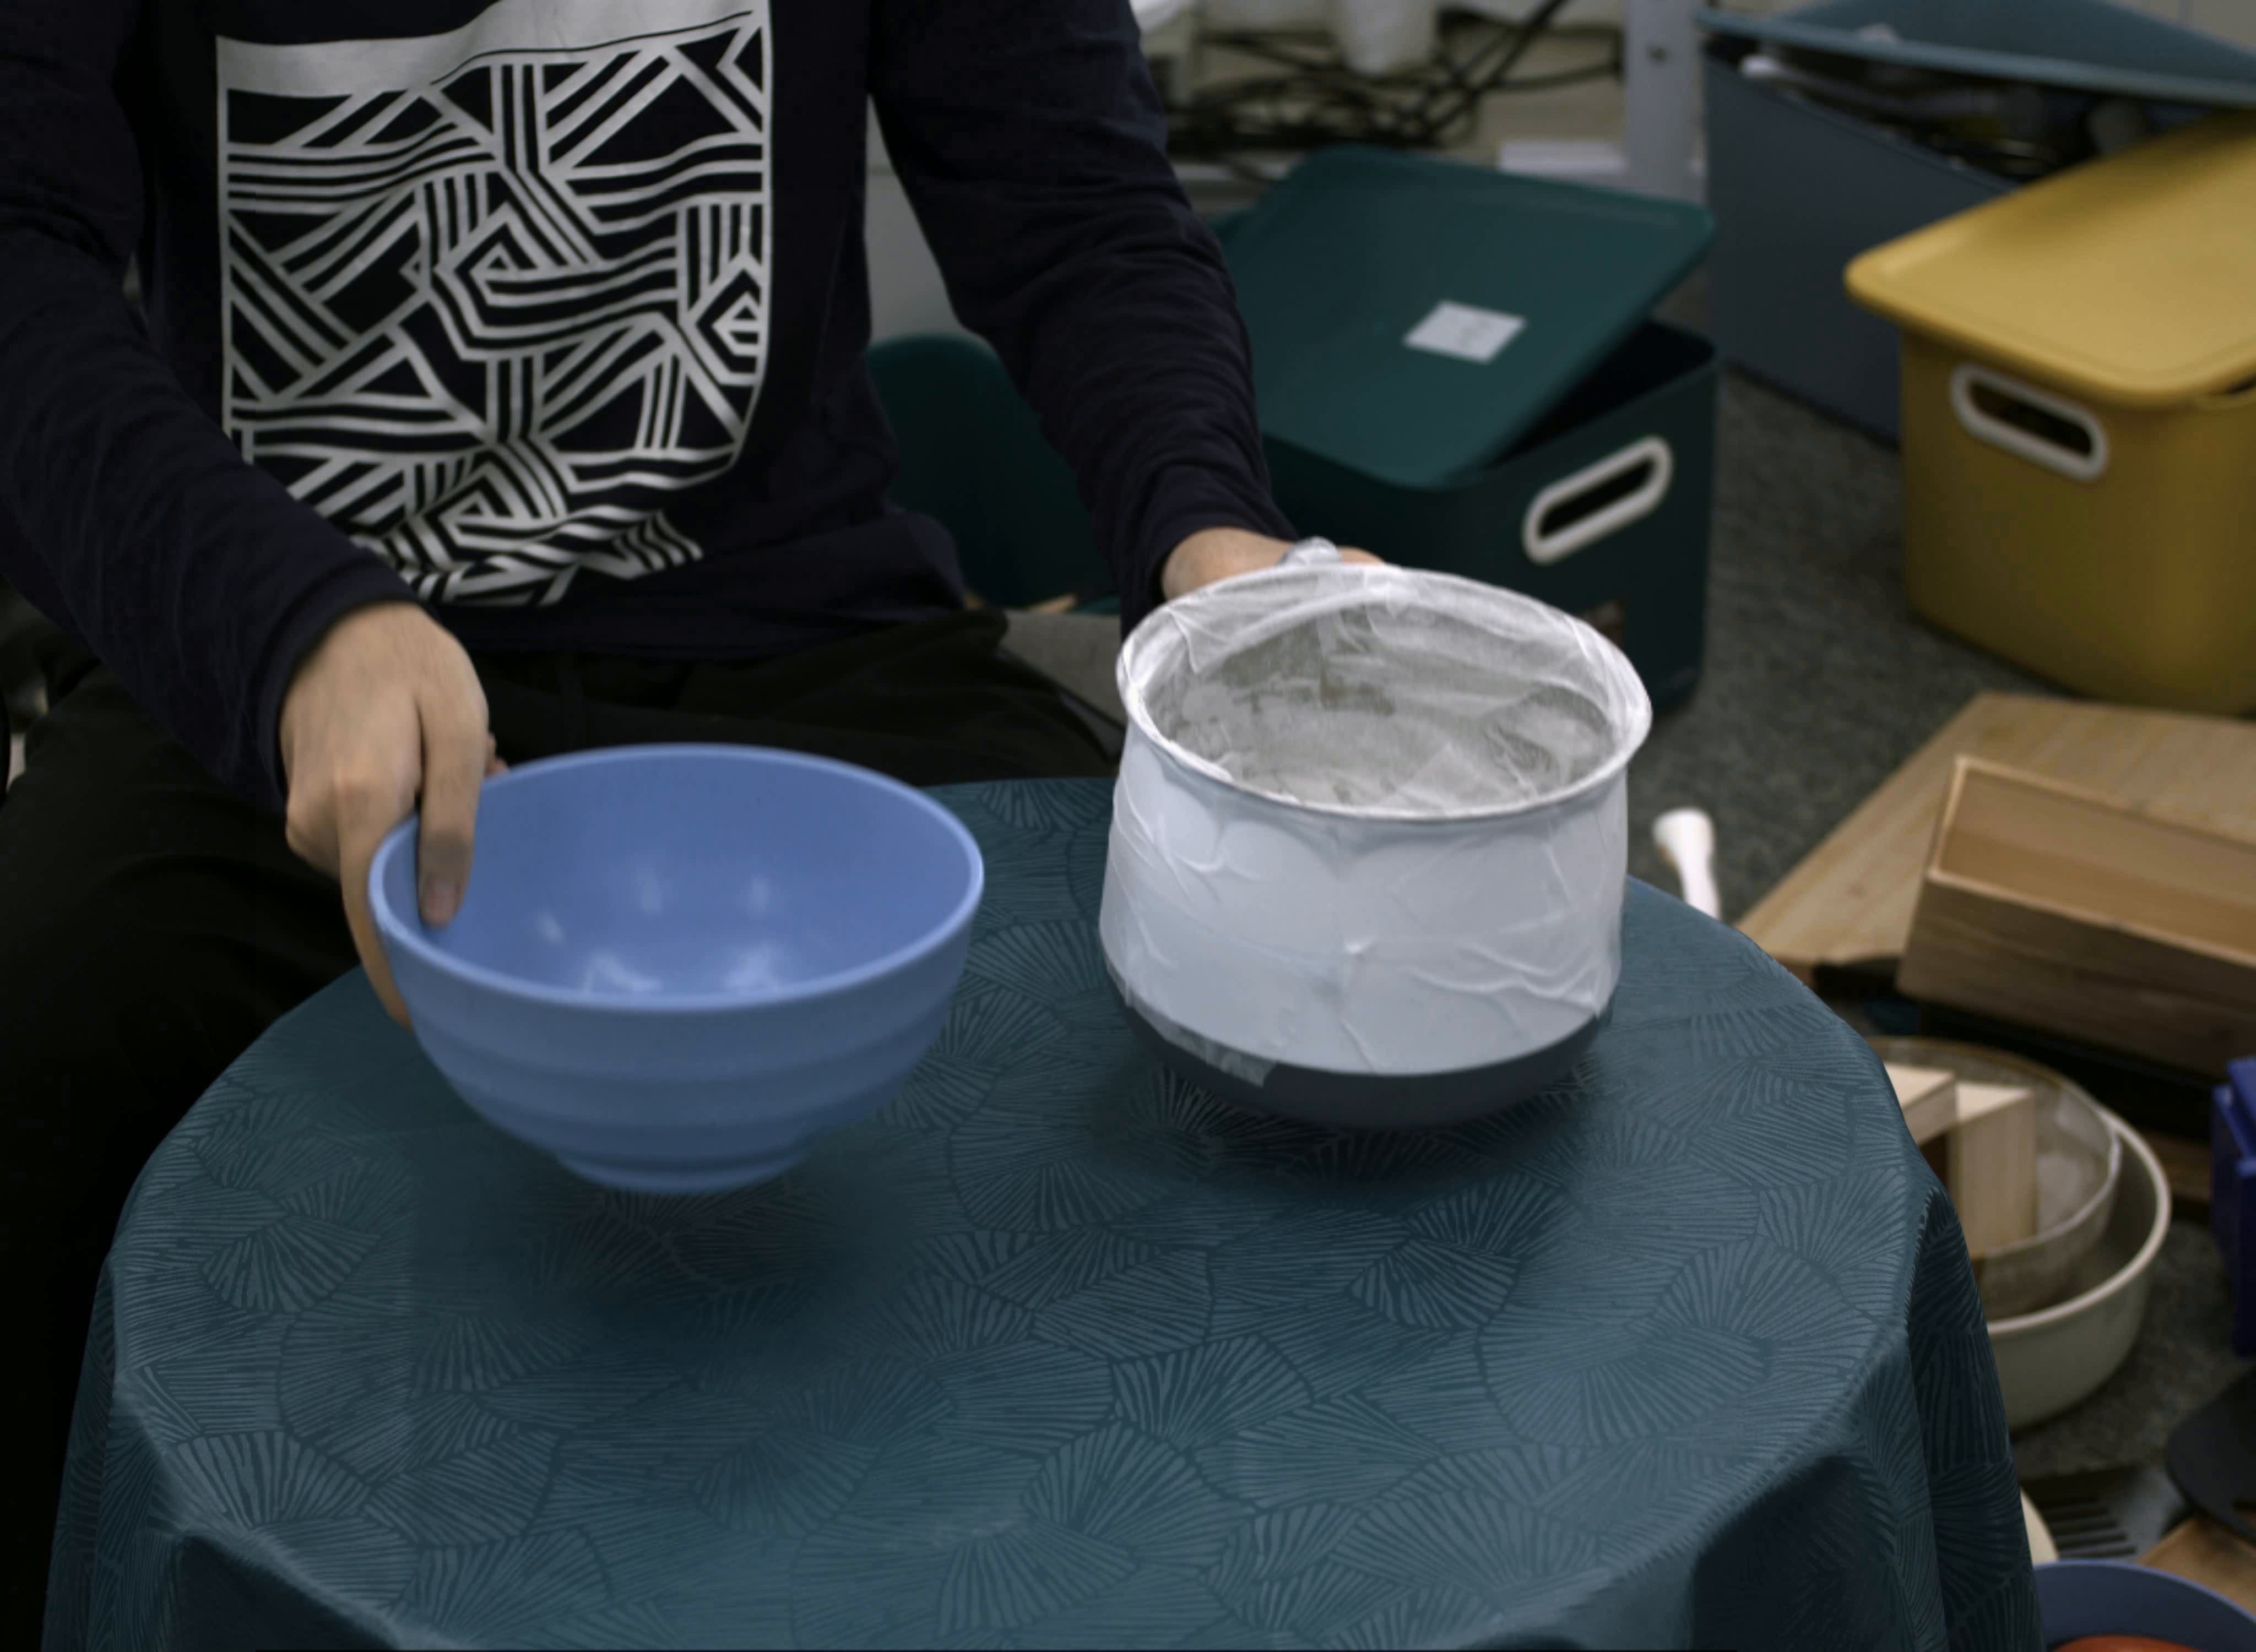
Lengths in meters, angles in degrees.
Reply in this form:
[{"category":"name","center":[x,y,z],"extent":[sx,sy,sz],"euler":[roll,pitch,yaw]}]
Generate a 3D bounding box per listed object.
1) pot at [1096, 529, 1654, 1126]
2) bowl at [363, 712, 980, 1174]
[{"category":"pot","center":[0.074,-0.007,1.904],"extent":[0.178,0.135,0.236],"euler":[-1,29,-14]},{"category":"bowl","center":[-0.144,0.048,1.808],"extent":[0.195,0.094,0.199],"euler":[-1,28,1]}]
